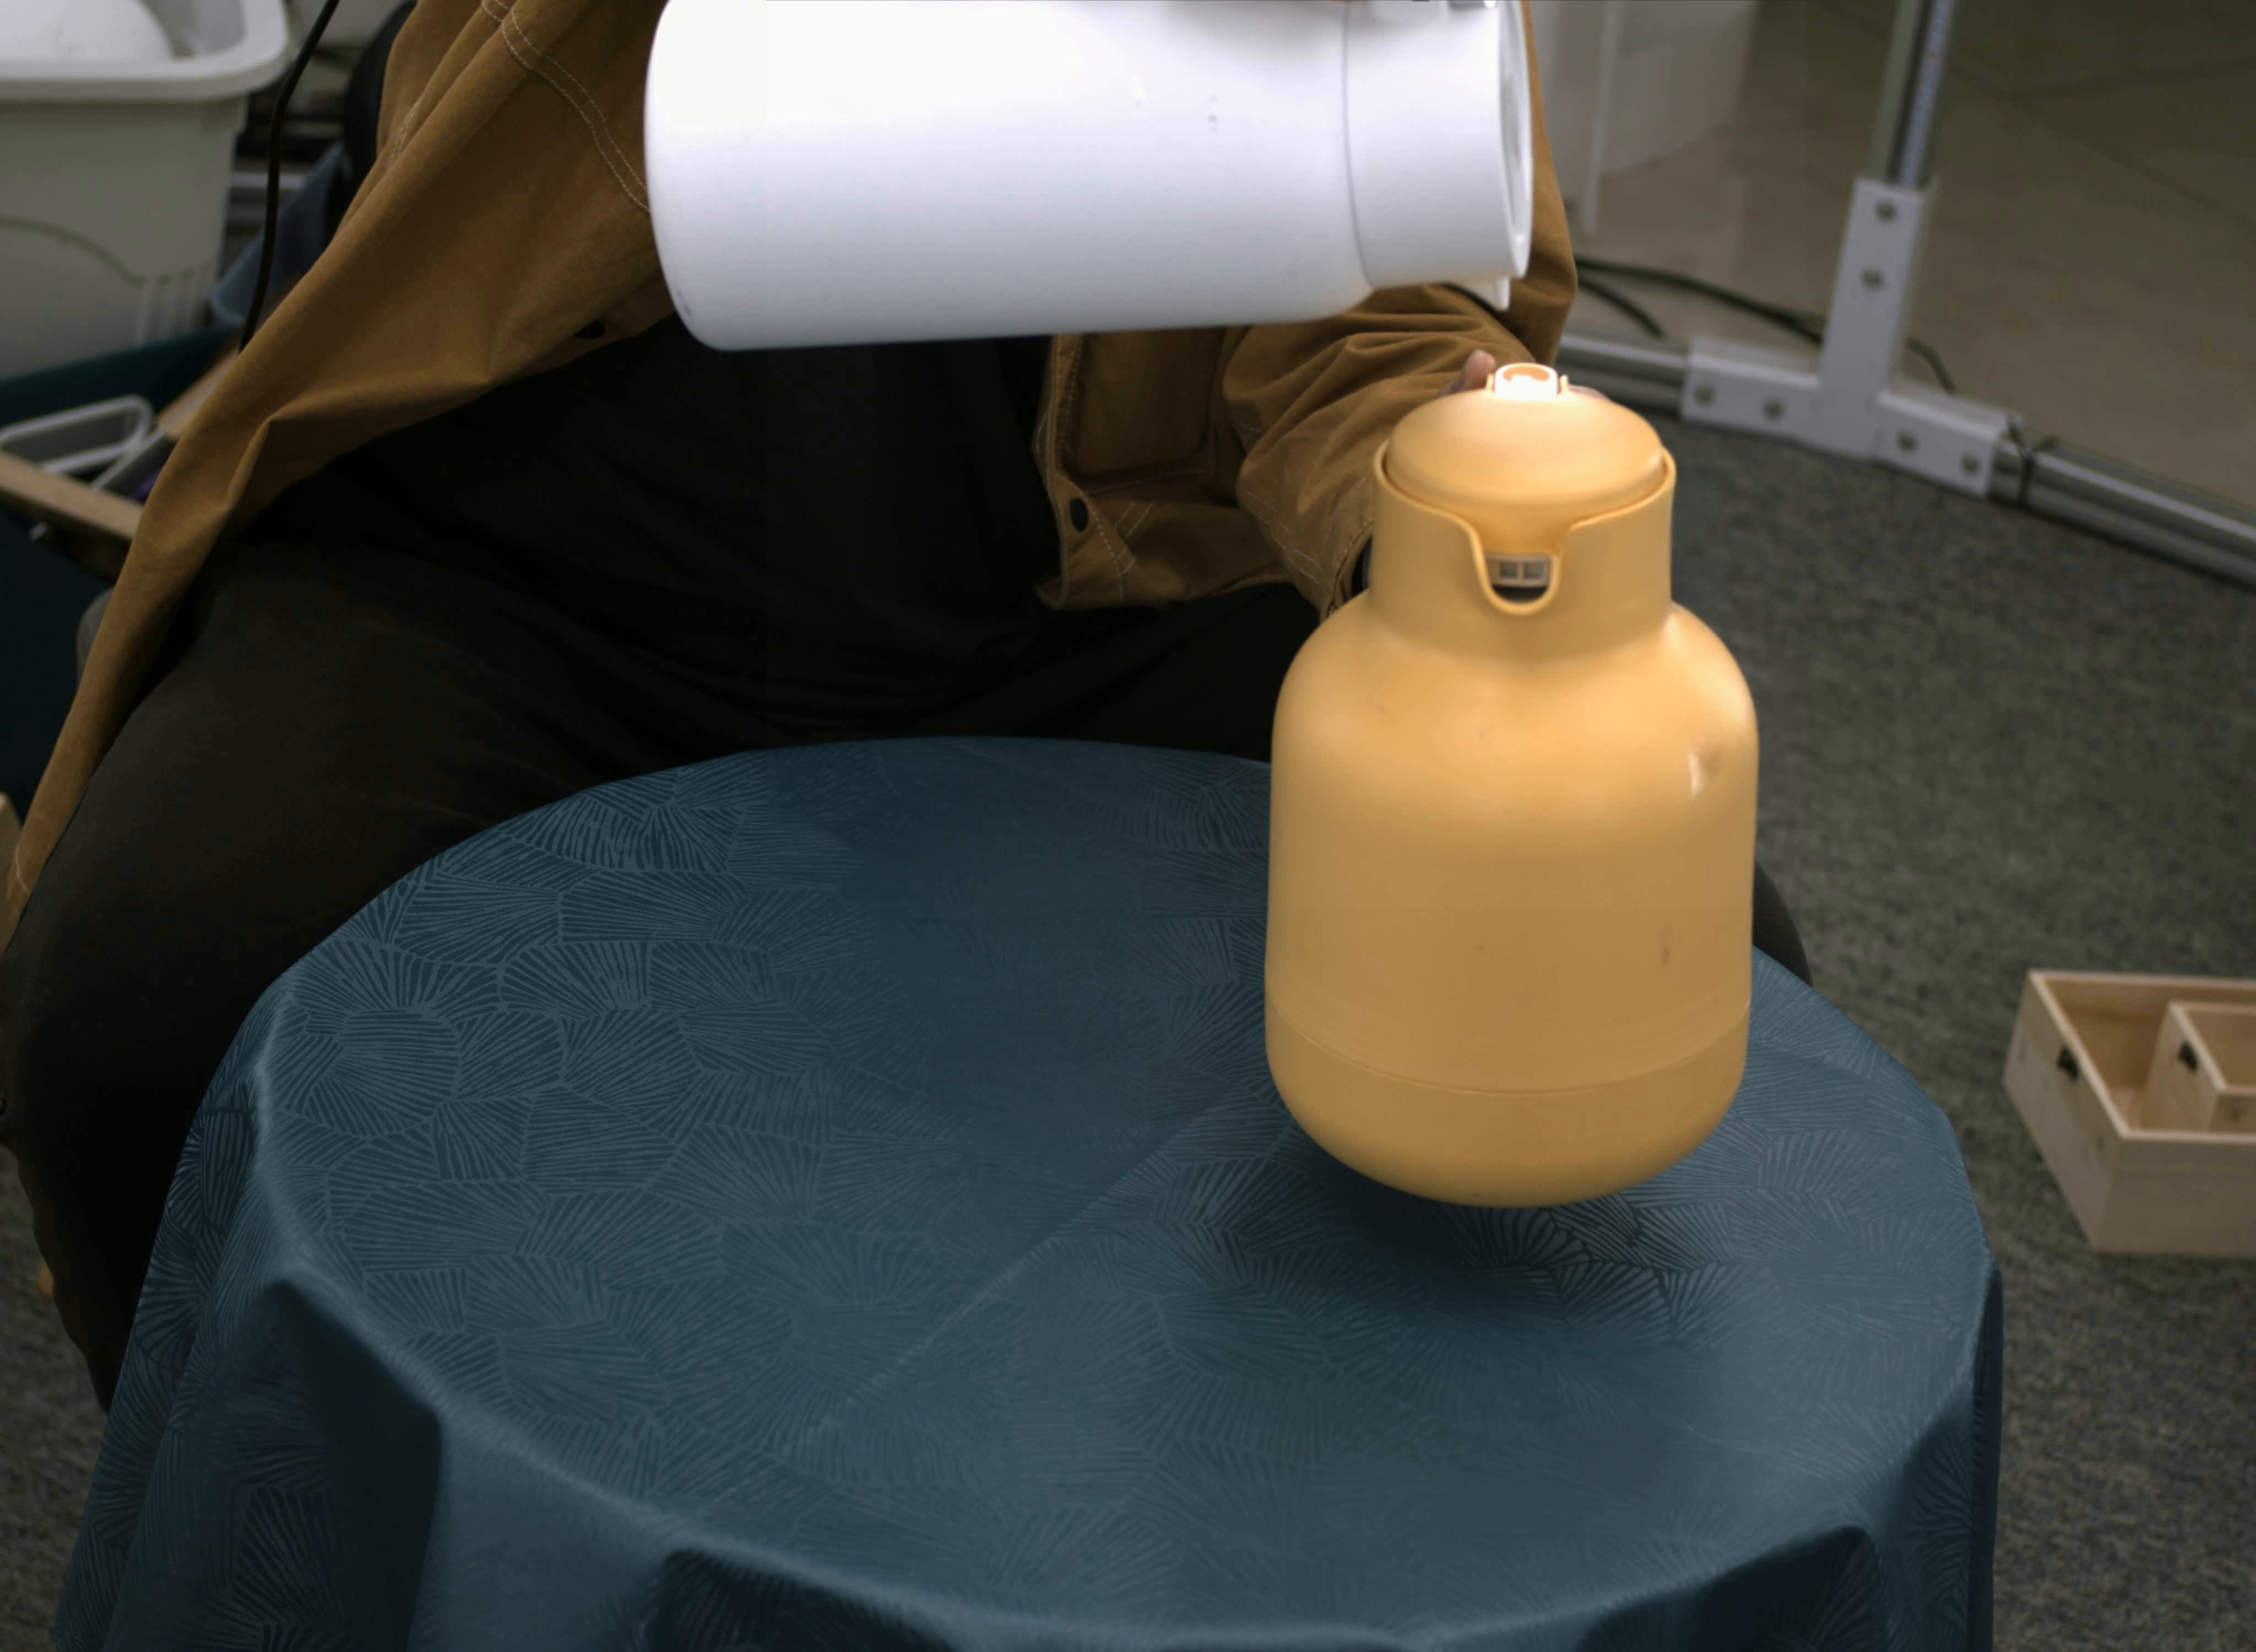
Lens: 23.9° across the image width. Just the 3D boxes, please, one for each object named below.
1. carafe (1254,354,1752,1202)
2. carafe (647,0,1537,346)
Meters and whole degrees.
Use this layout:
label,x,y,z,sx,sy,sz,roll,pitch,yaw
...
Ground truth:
label,x,y,z,sx,sy,sz,roll,pitch,yaw
carafe,0.128,-0.025,1.770,0.163,0.259,0.203,5,28,6
carafe,-0.012,-0.226,1.651,0.269,0.171,0.124,-1,41,12
